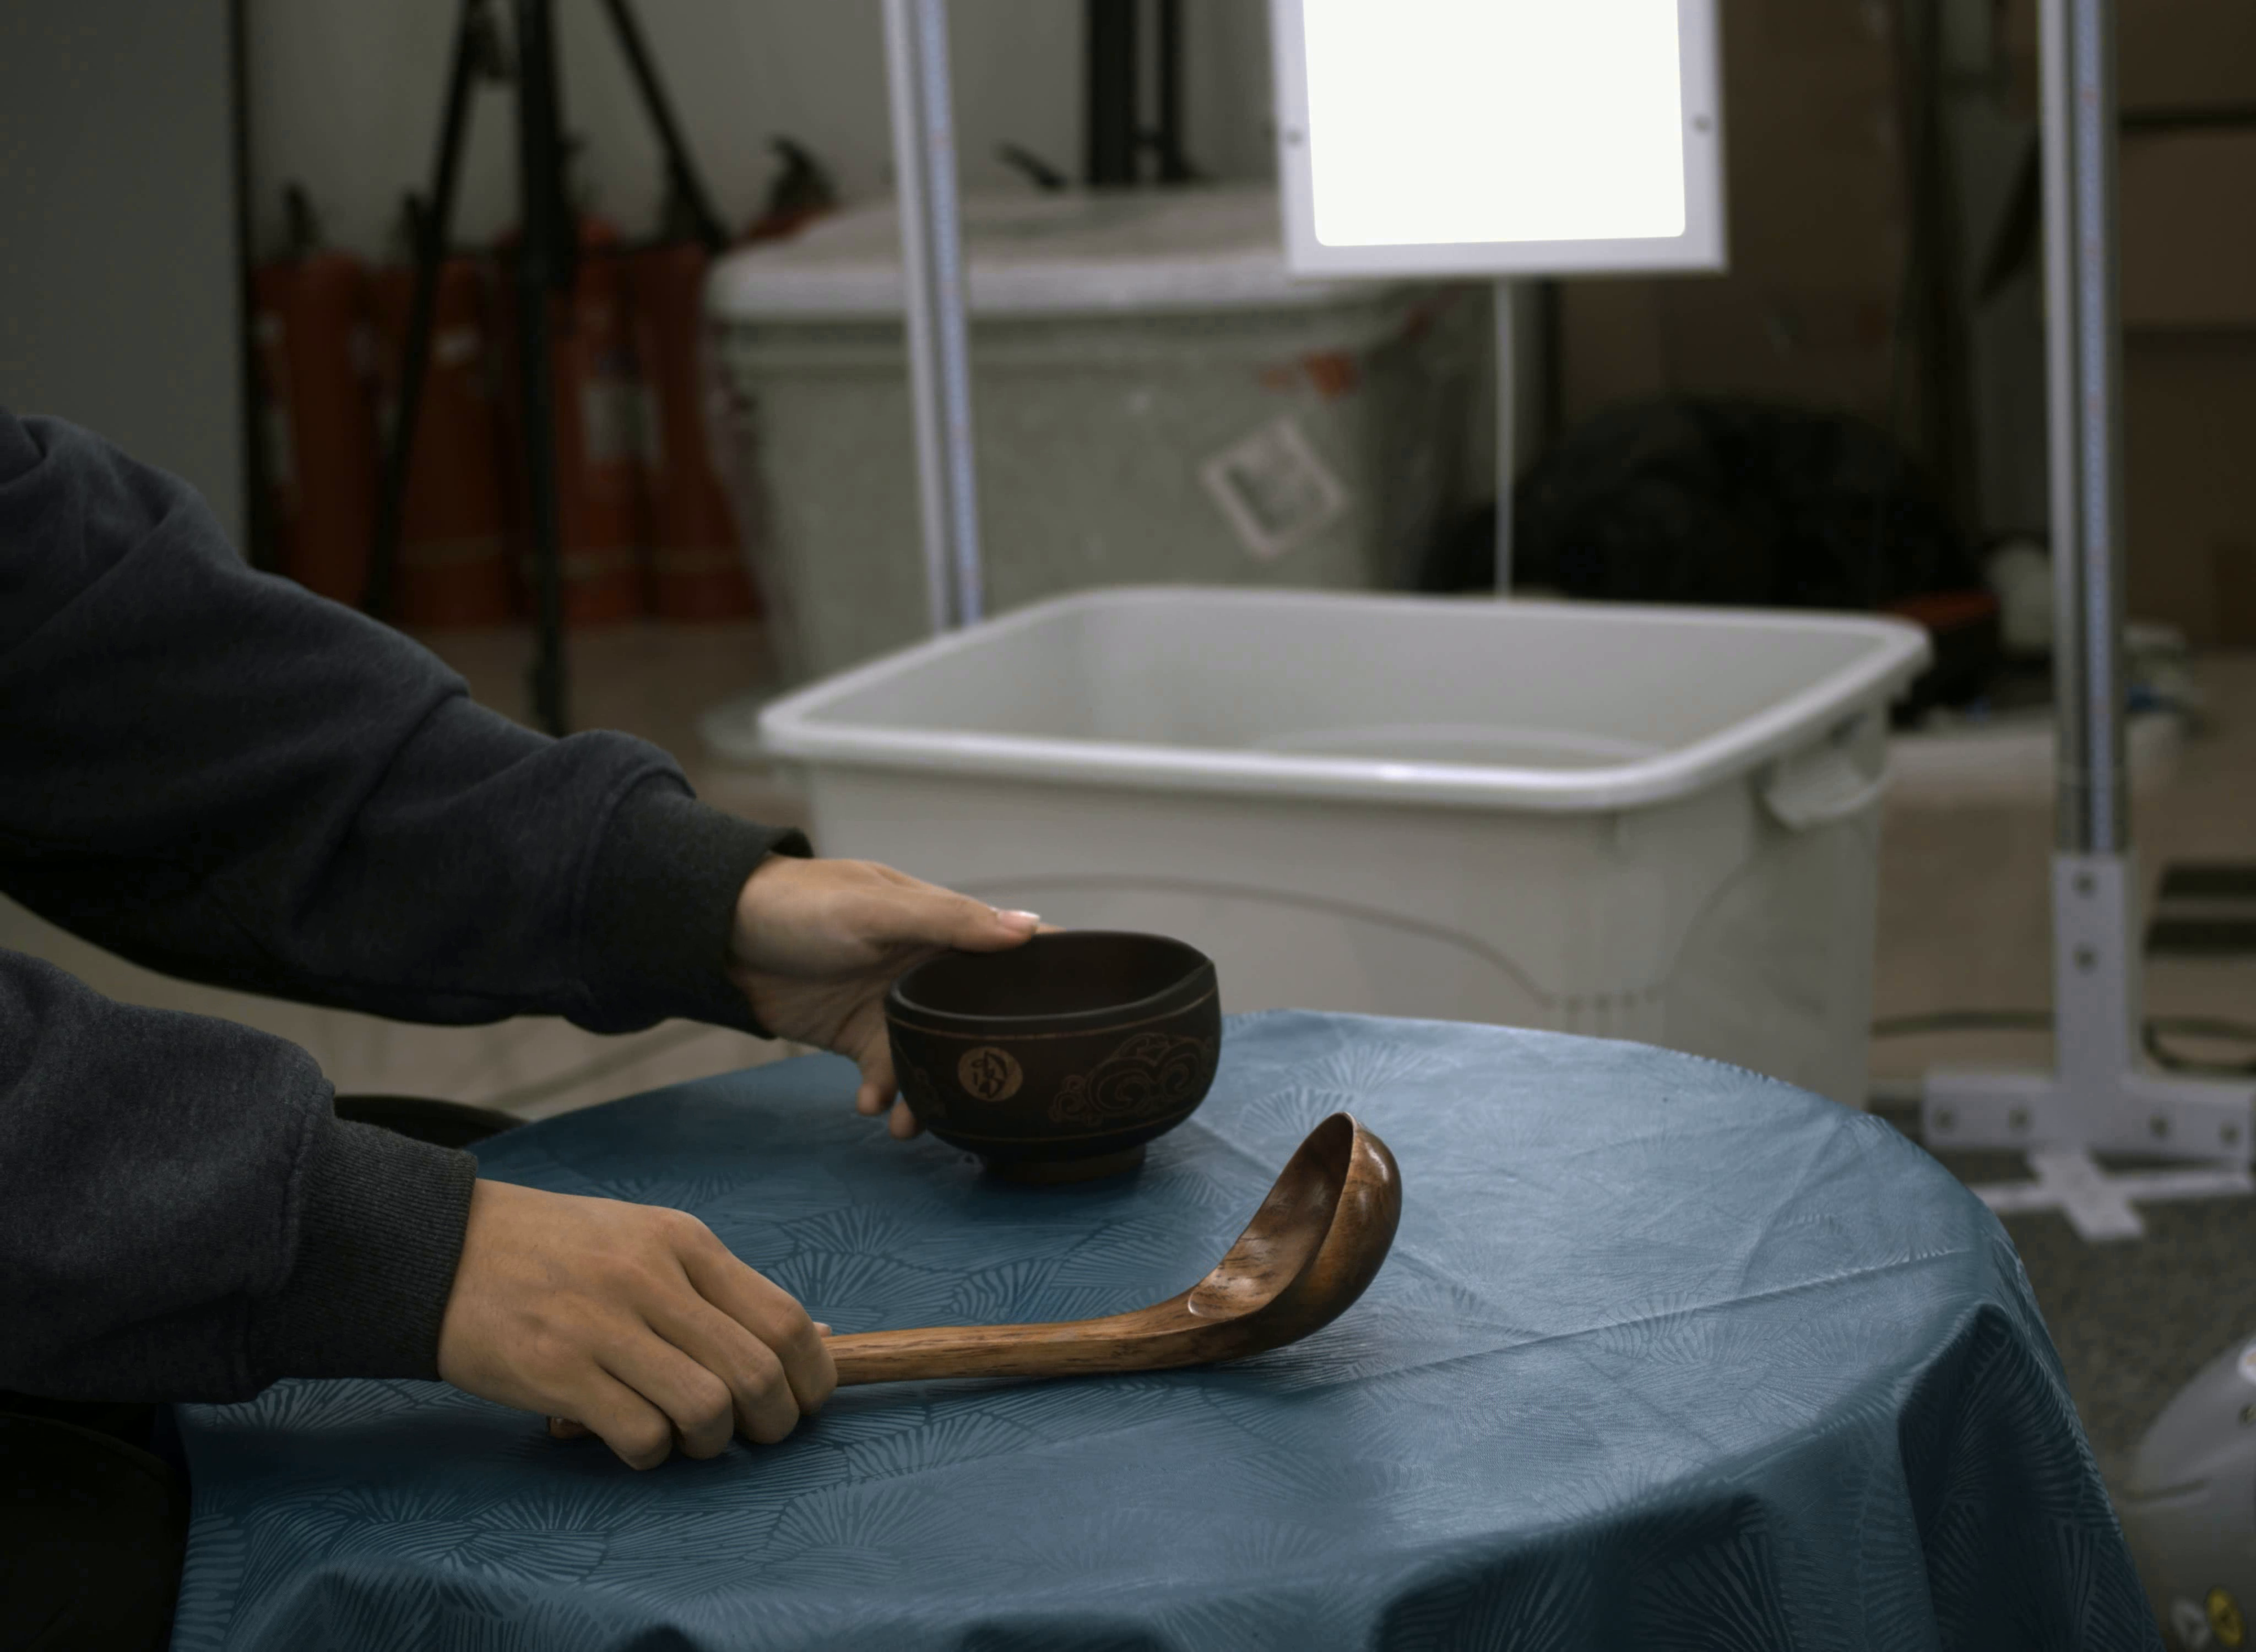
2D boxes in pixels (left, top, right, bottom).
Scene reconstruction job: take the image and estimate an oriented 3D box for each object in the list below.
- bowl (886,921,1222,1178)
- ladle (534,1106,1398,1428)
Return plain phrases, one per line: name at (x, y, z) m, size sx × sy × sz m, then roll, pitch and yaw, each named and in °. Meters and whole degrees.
bowl at (-0.024, 0.082, 1.932) m, size 0.118 × 0.070 × 0.118 m, roll -5°, pitch 14°, yaw 0°
ladle at (-0.051, 0.136, 1.709) m, size 0.273 × 0.077 × 0.082 m, roll -5°, pitch 10°, yaw -2°
